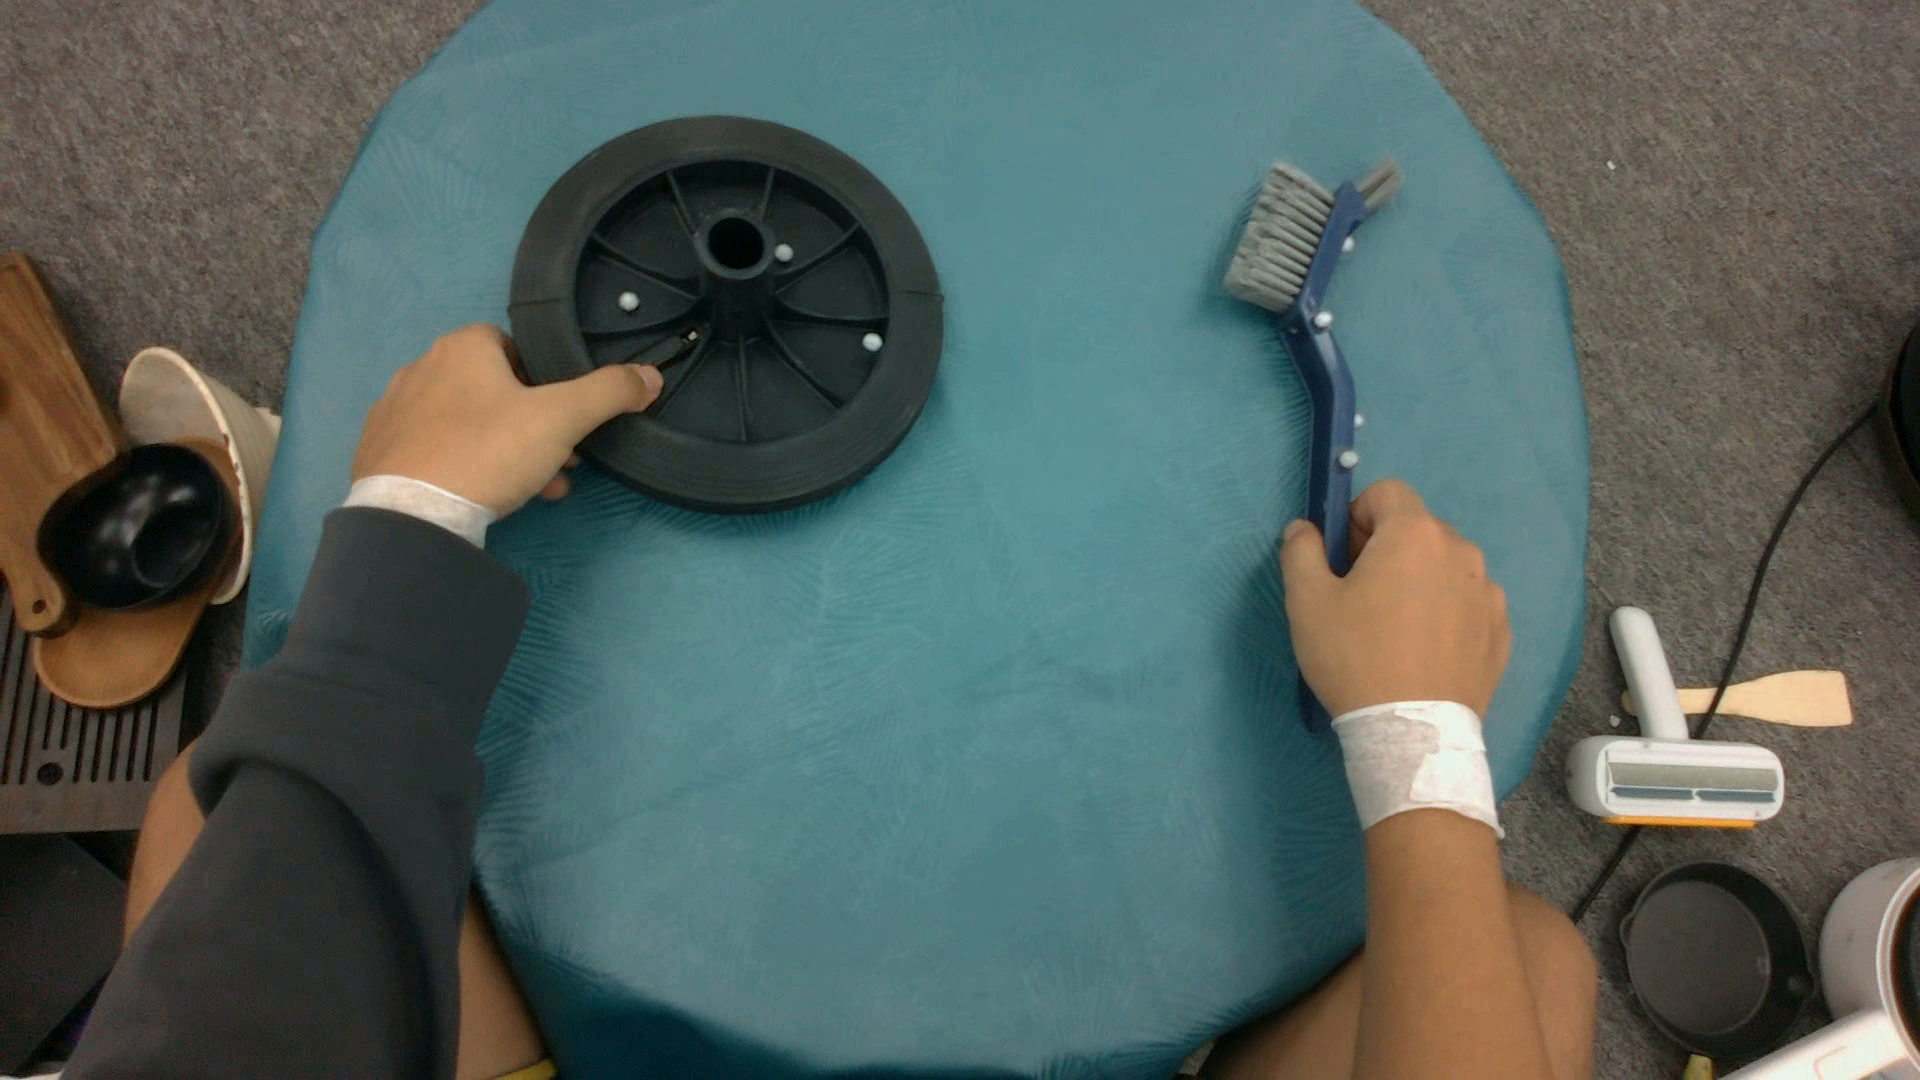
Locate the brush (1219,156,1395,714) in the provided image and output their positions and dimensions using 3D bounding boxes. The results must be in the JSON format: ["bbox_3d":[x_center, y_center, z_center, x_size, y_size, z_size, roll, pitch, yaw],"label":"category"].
[{"bbox_3d":[0.169,-0.056,0.633,0.096,0.033,0.274,4,74,-16],"label":"brush"}]

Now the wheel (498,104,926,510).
[{"bbox_3d":[-0.104,-0.112,0.593,0.187,0.079,0.190,30,71,-3],"label":"wheel"}]
